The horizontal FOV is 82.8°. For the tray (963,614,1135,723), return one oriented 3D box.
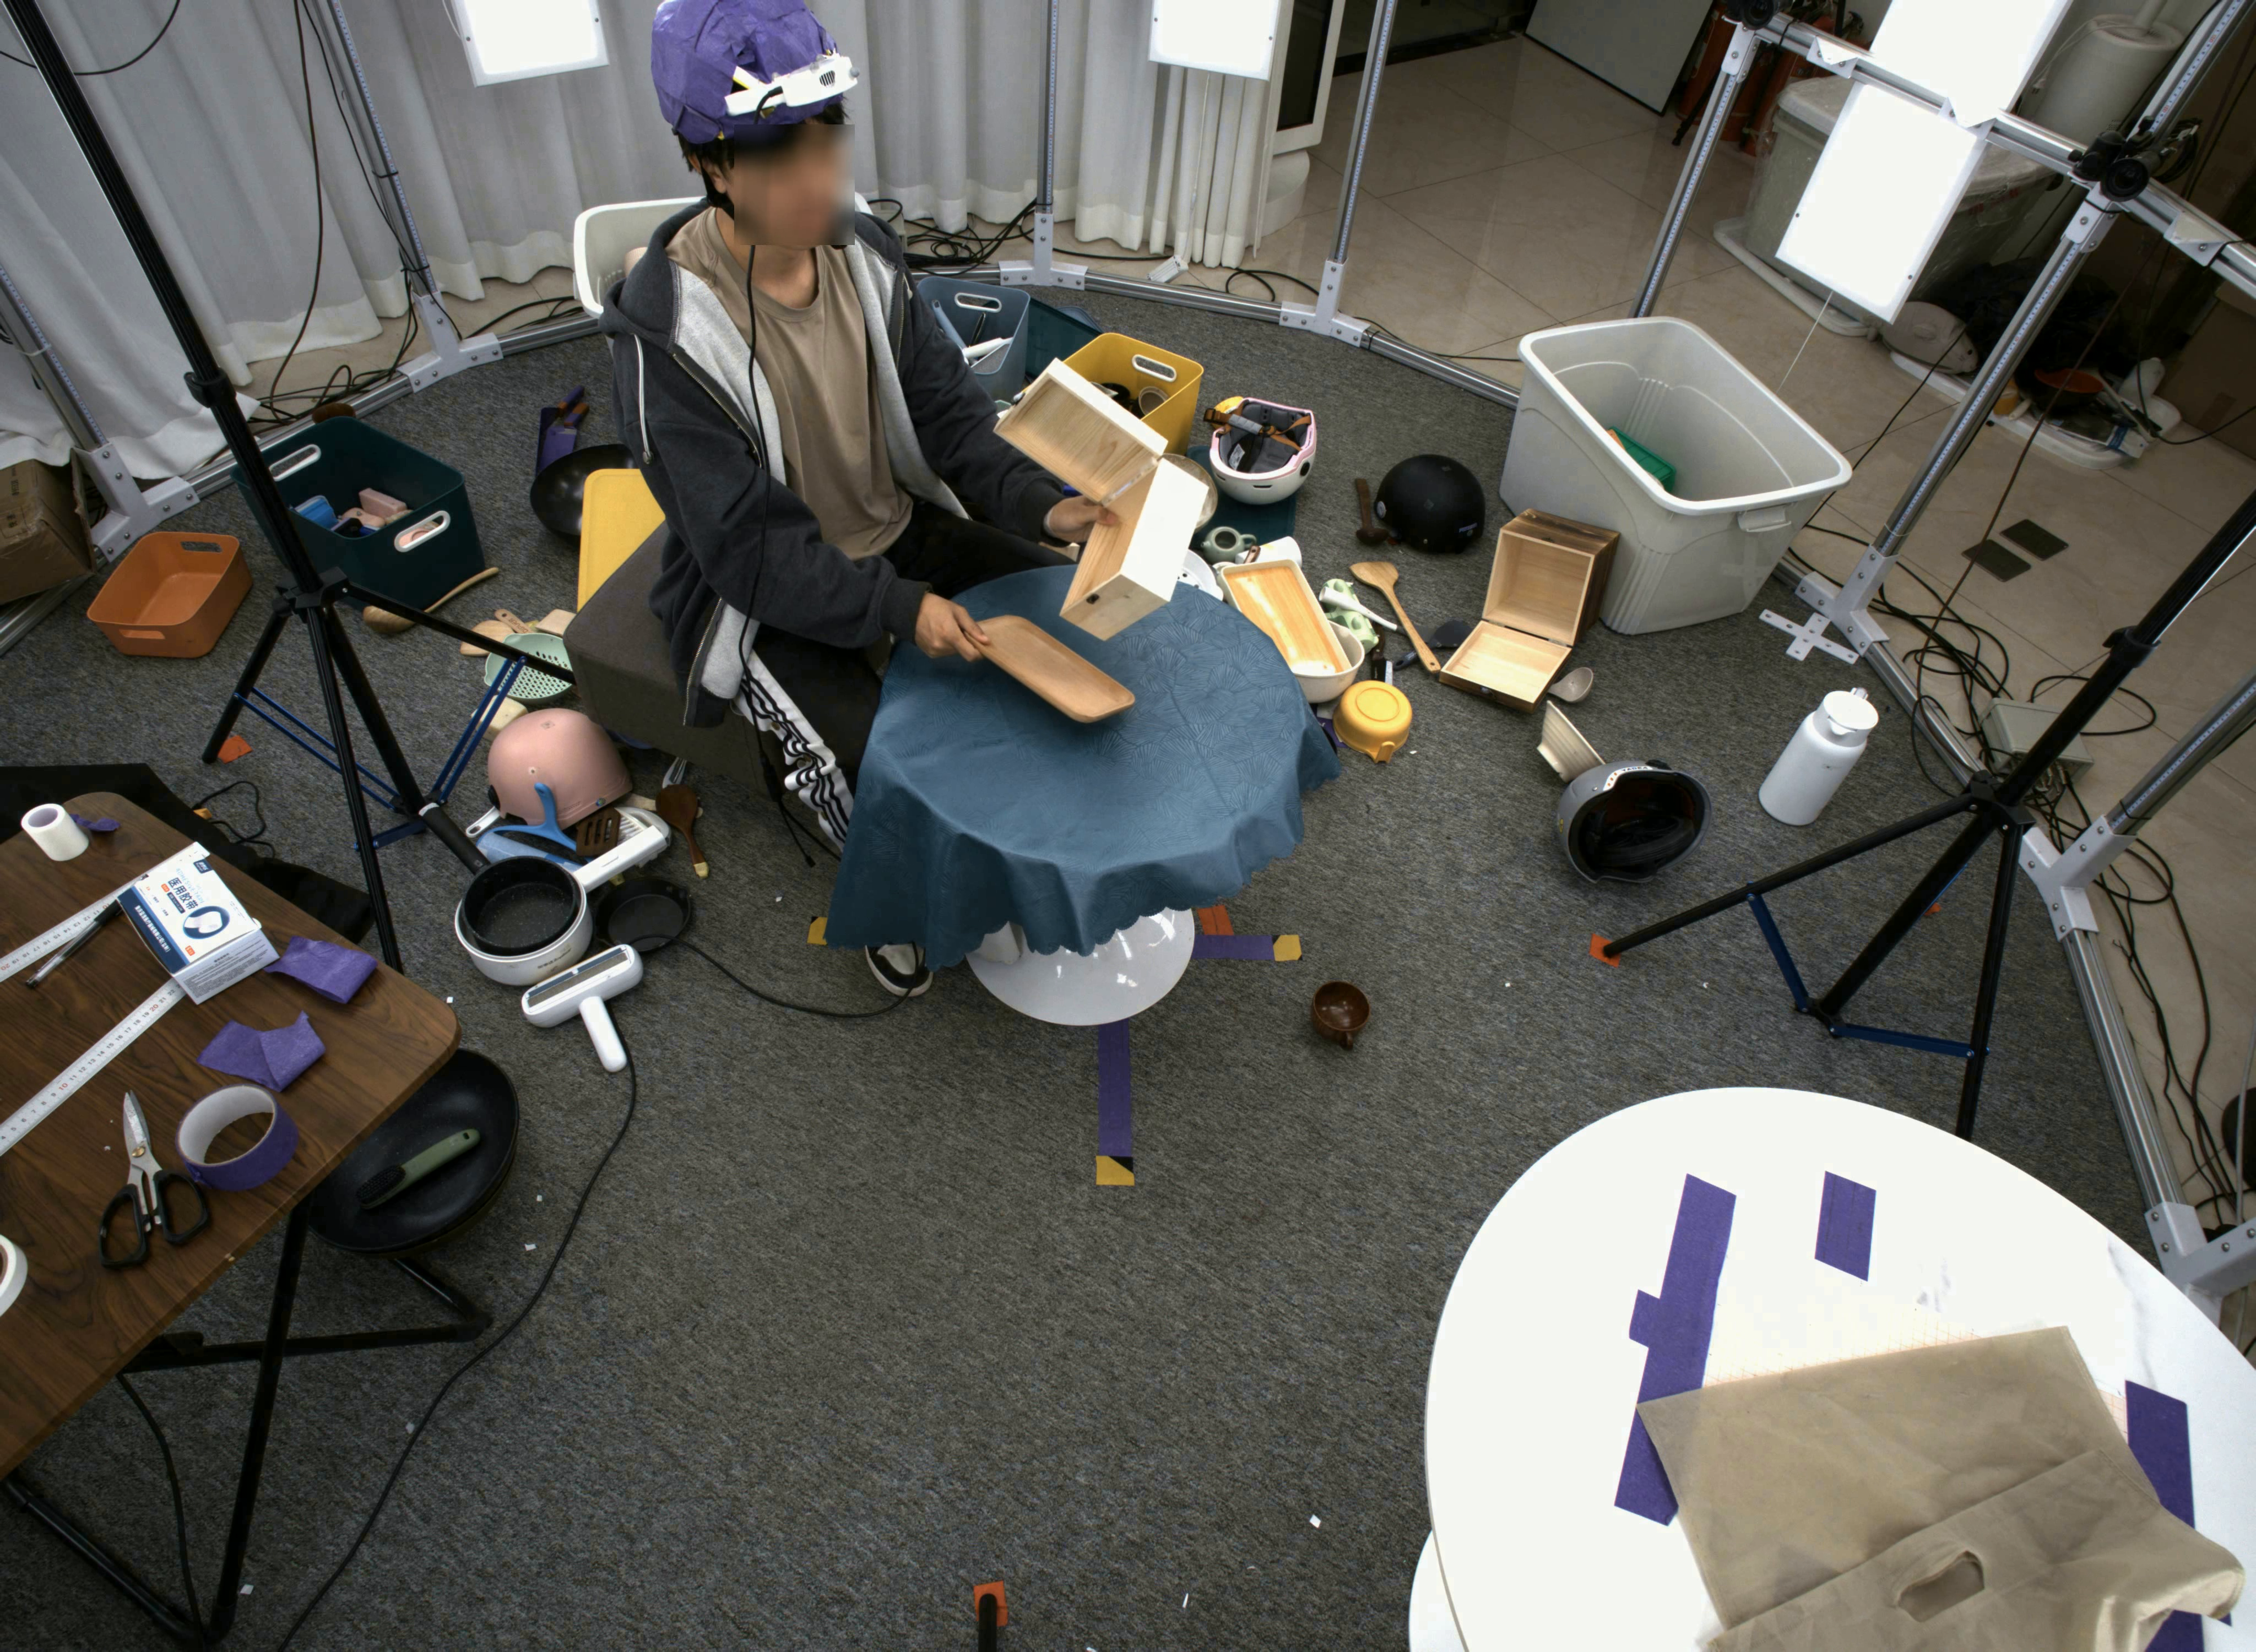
[{"bbox_3d":[-0.112,-0.222,1.789,0.254,0.022,0.131,37,34,26],"label":"tray"}]

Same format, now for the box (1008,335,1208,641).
[{"bbox_3d":[-0.054,-0.431,1.696,0.251,0.180,0.269,27,67,-18],"label":"box"}]
